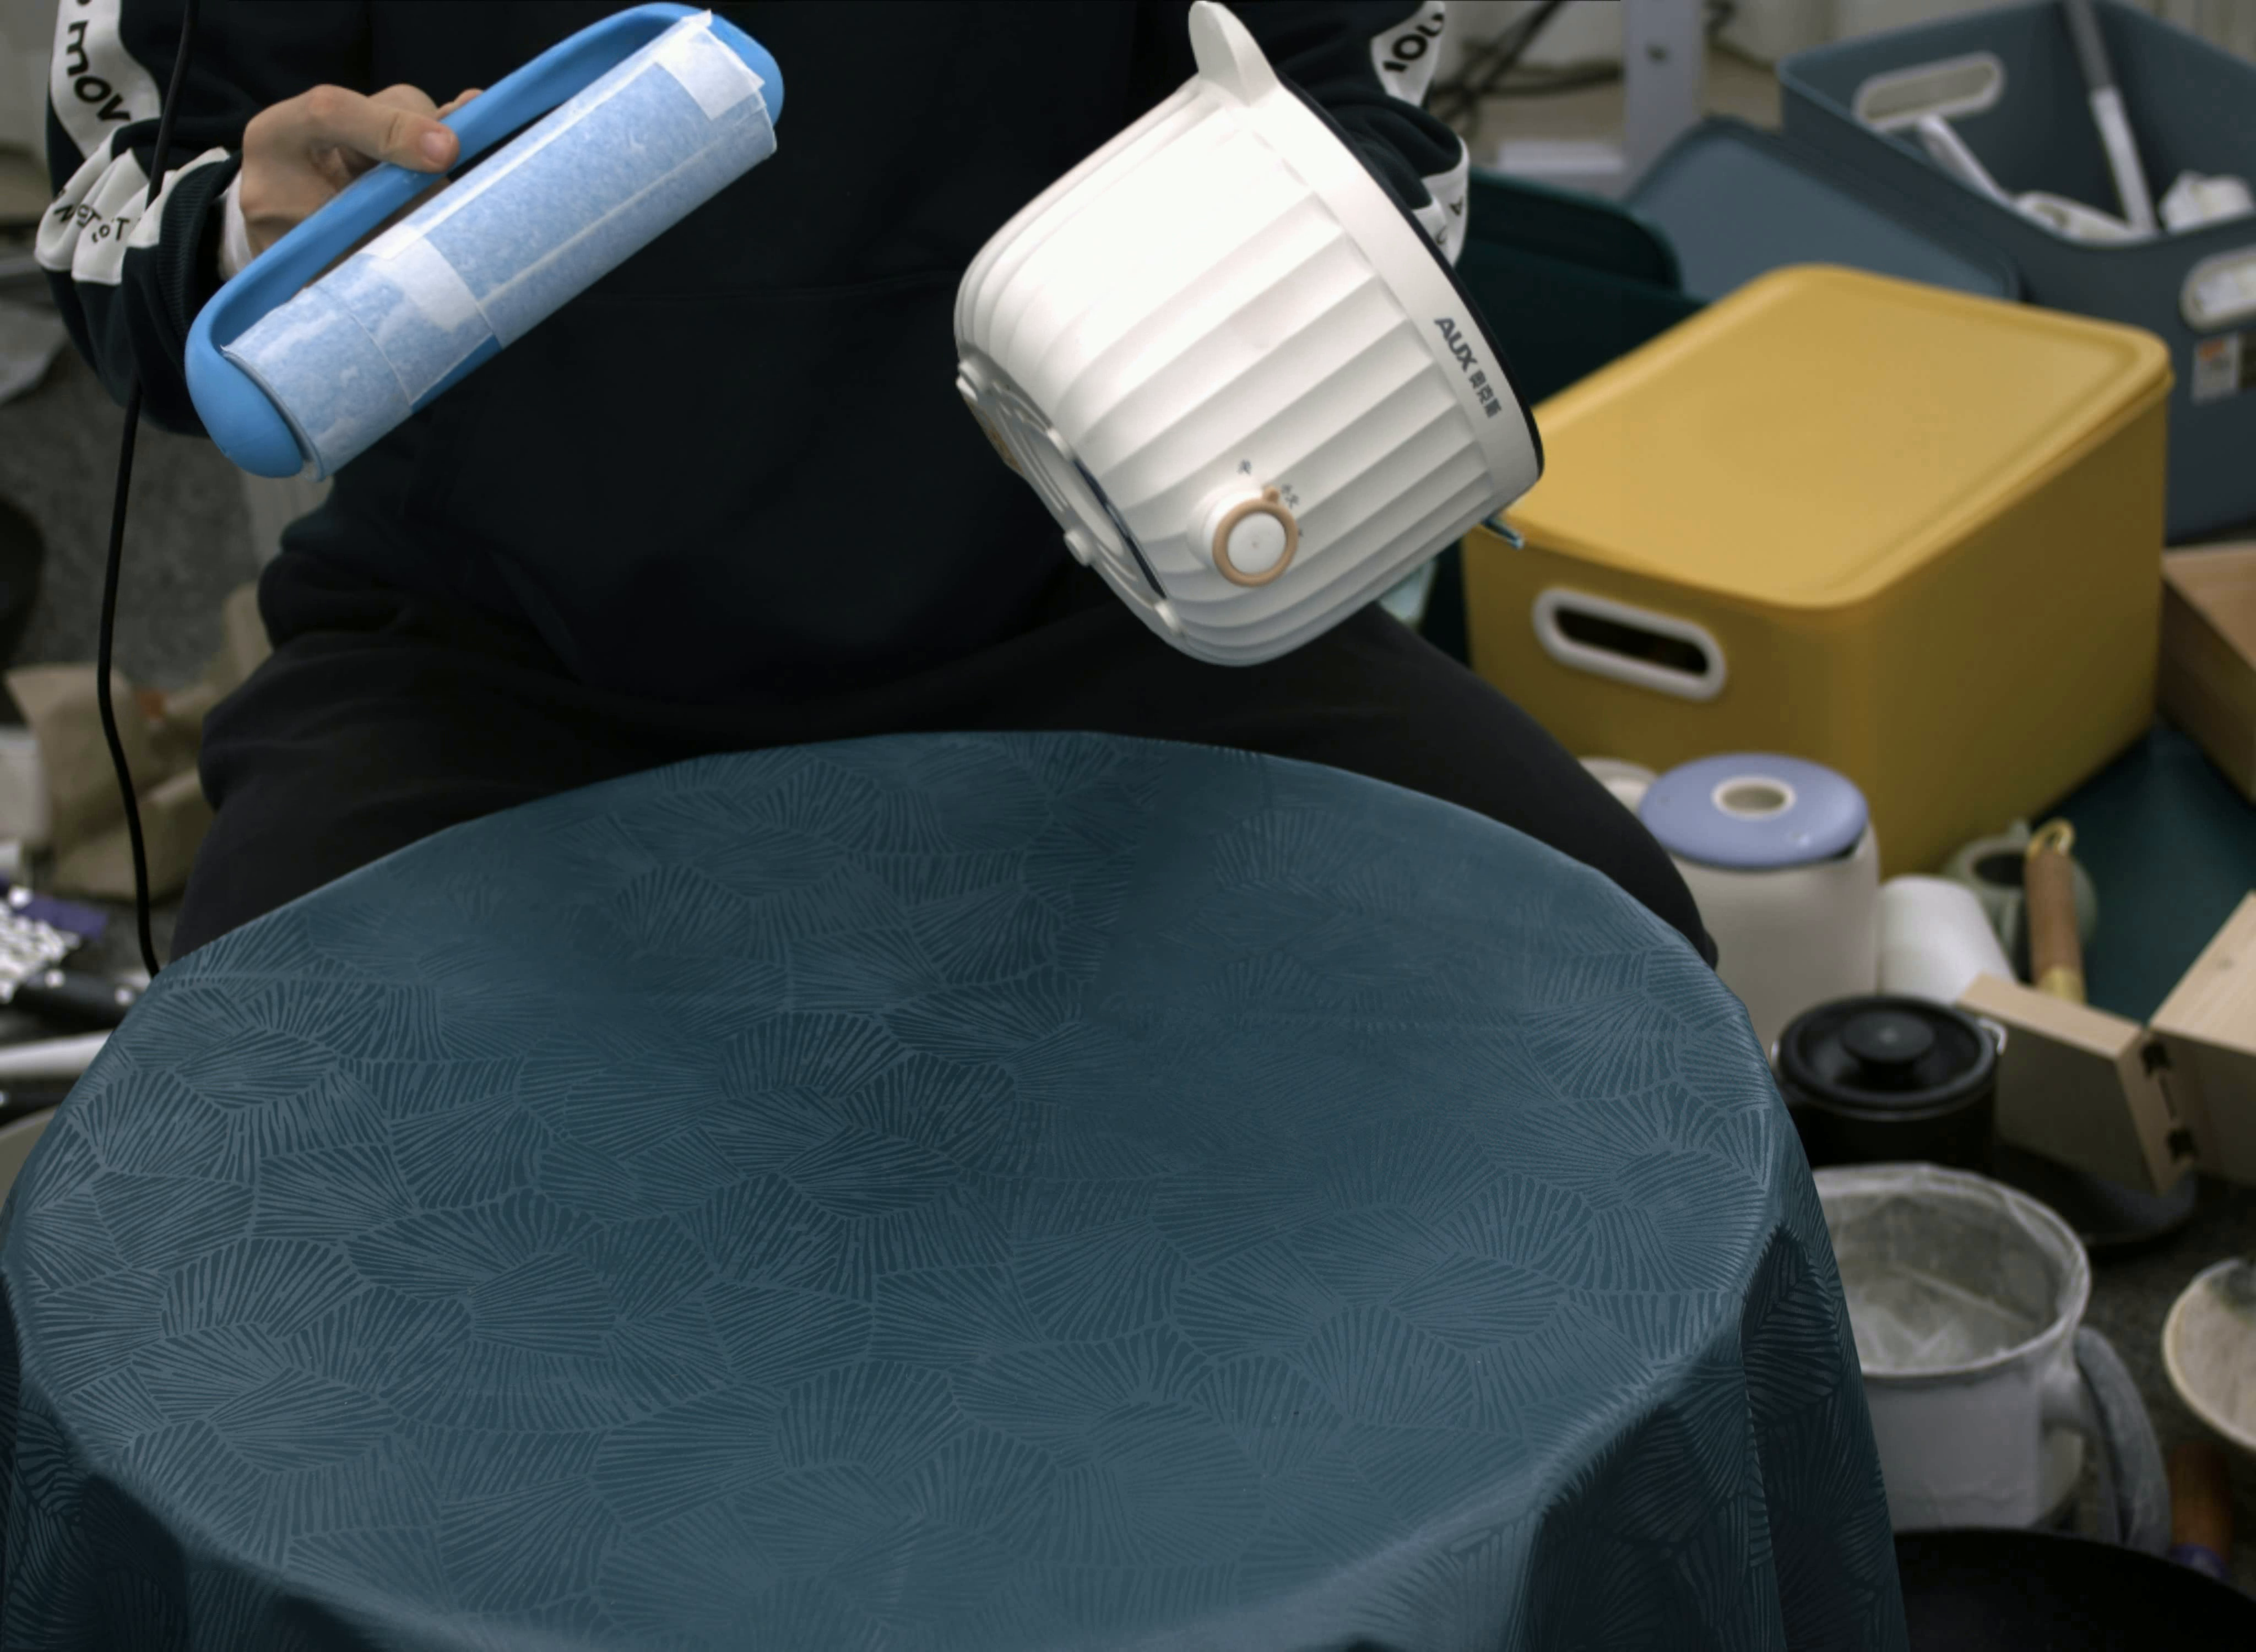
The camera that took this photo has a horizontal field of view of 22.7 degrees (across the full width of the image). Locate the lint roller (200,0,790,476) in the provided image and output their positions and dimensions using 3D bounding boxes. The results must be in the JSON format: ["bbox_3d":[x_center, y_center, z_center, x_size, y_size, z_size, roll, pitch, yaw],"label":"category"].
[{"bbox_3d":[-0.232,-0.197,1.894,0.231,0.067,0.179,-42,24,-22],"label":"lint roller"}]

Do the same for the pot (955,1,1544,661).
[{"bbox_3d":[0.036,-0.150,1.911,0.143,0.238,0.191,-38,32,-10],"label":"pot"}]
